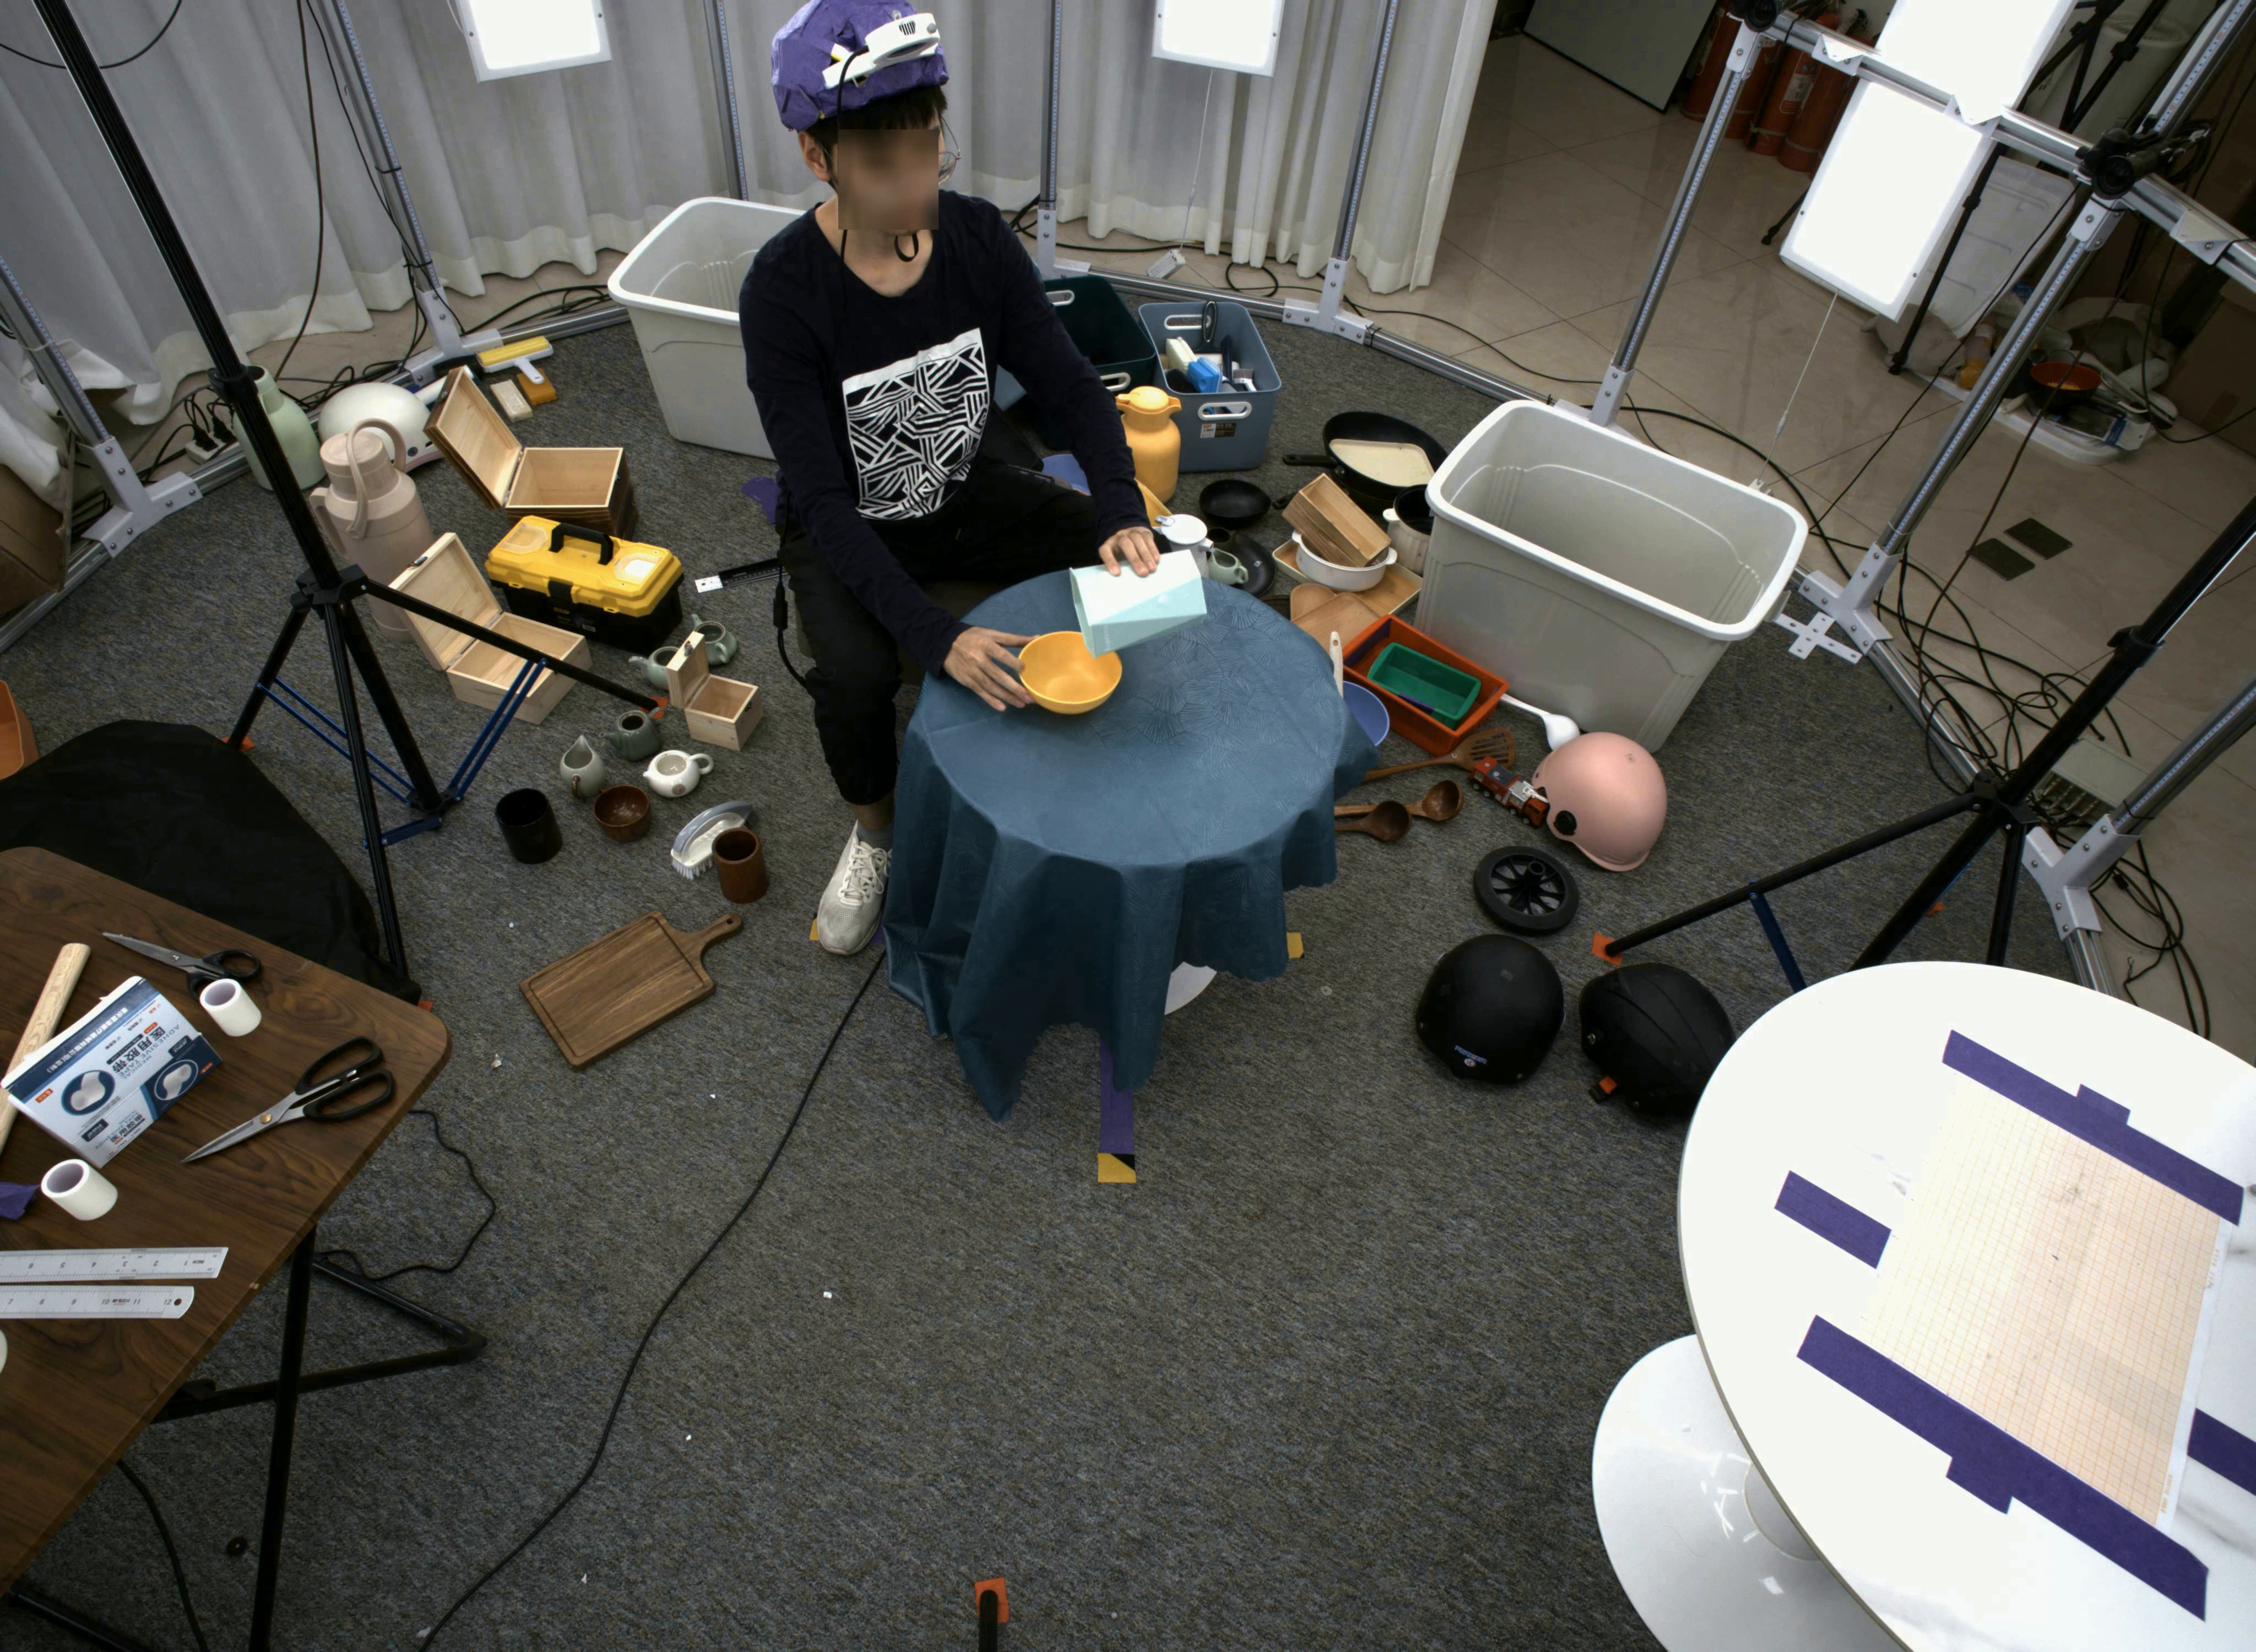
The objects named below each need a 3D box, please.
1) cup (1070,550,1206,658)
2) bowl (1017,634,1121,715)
[{"bbox_3d":[0.014,-0.306,1.738,0.163,0.128,0.118,-12,51,-5],"label":"cup"},{"bbox_3d":[-0.083,-0.201,1.802,0.145,0.058,0.149,1,47,-2],"label":"bowl"}]
